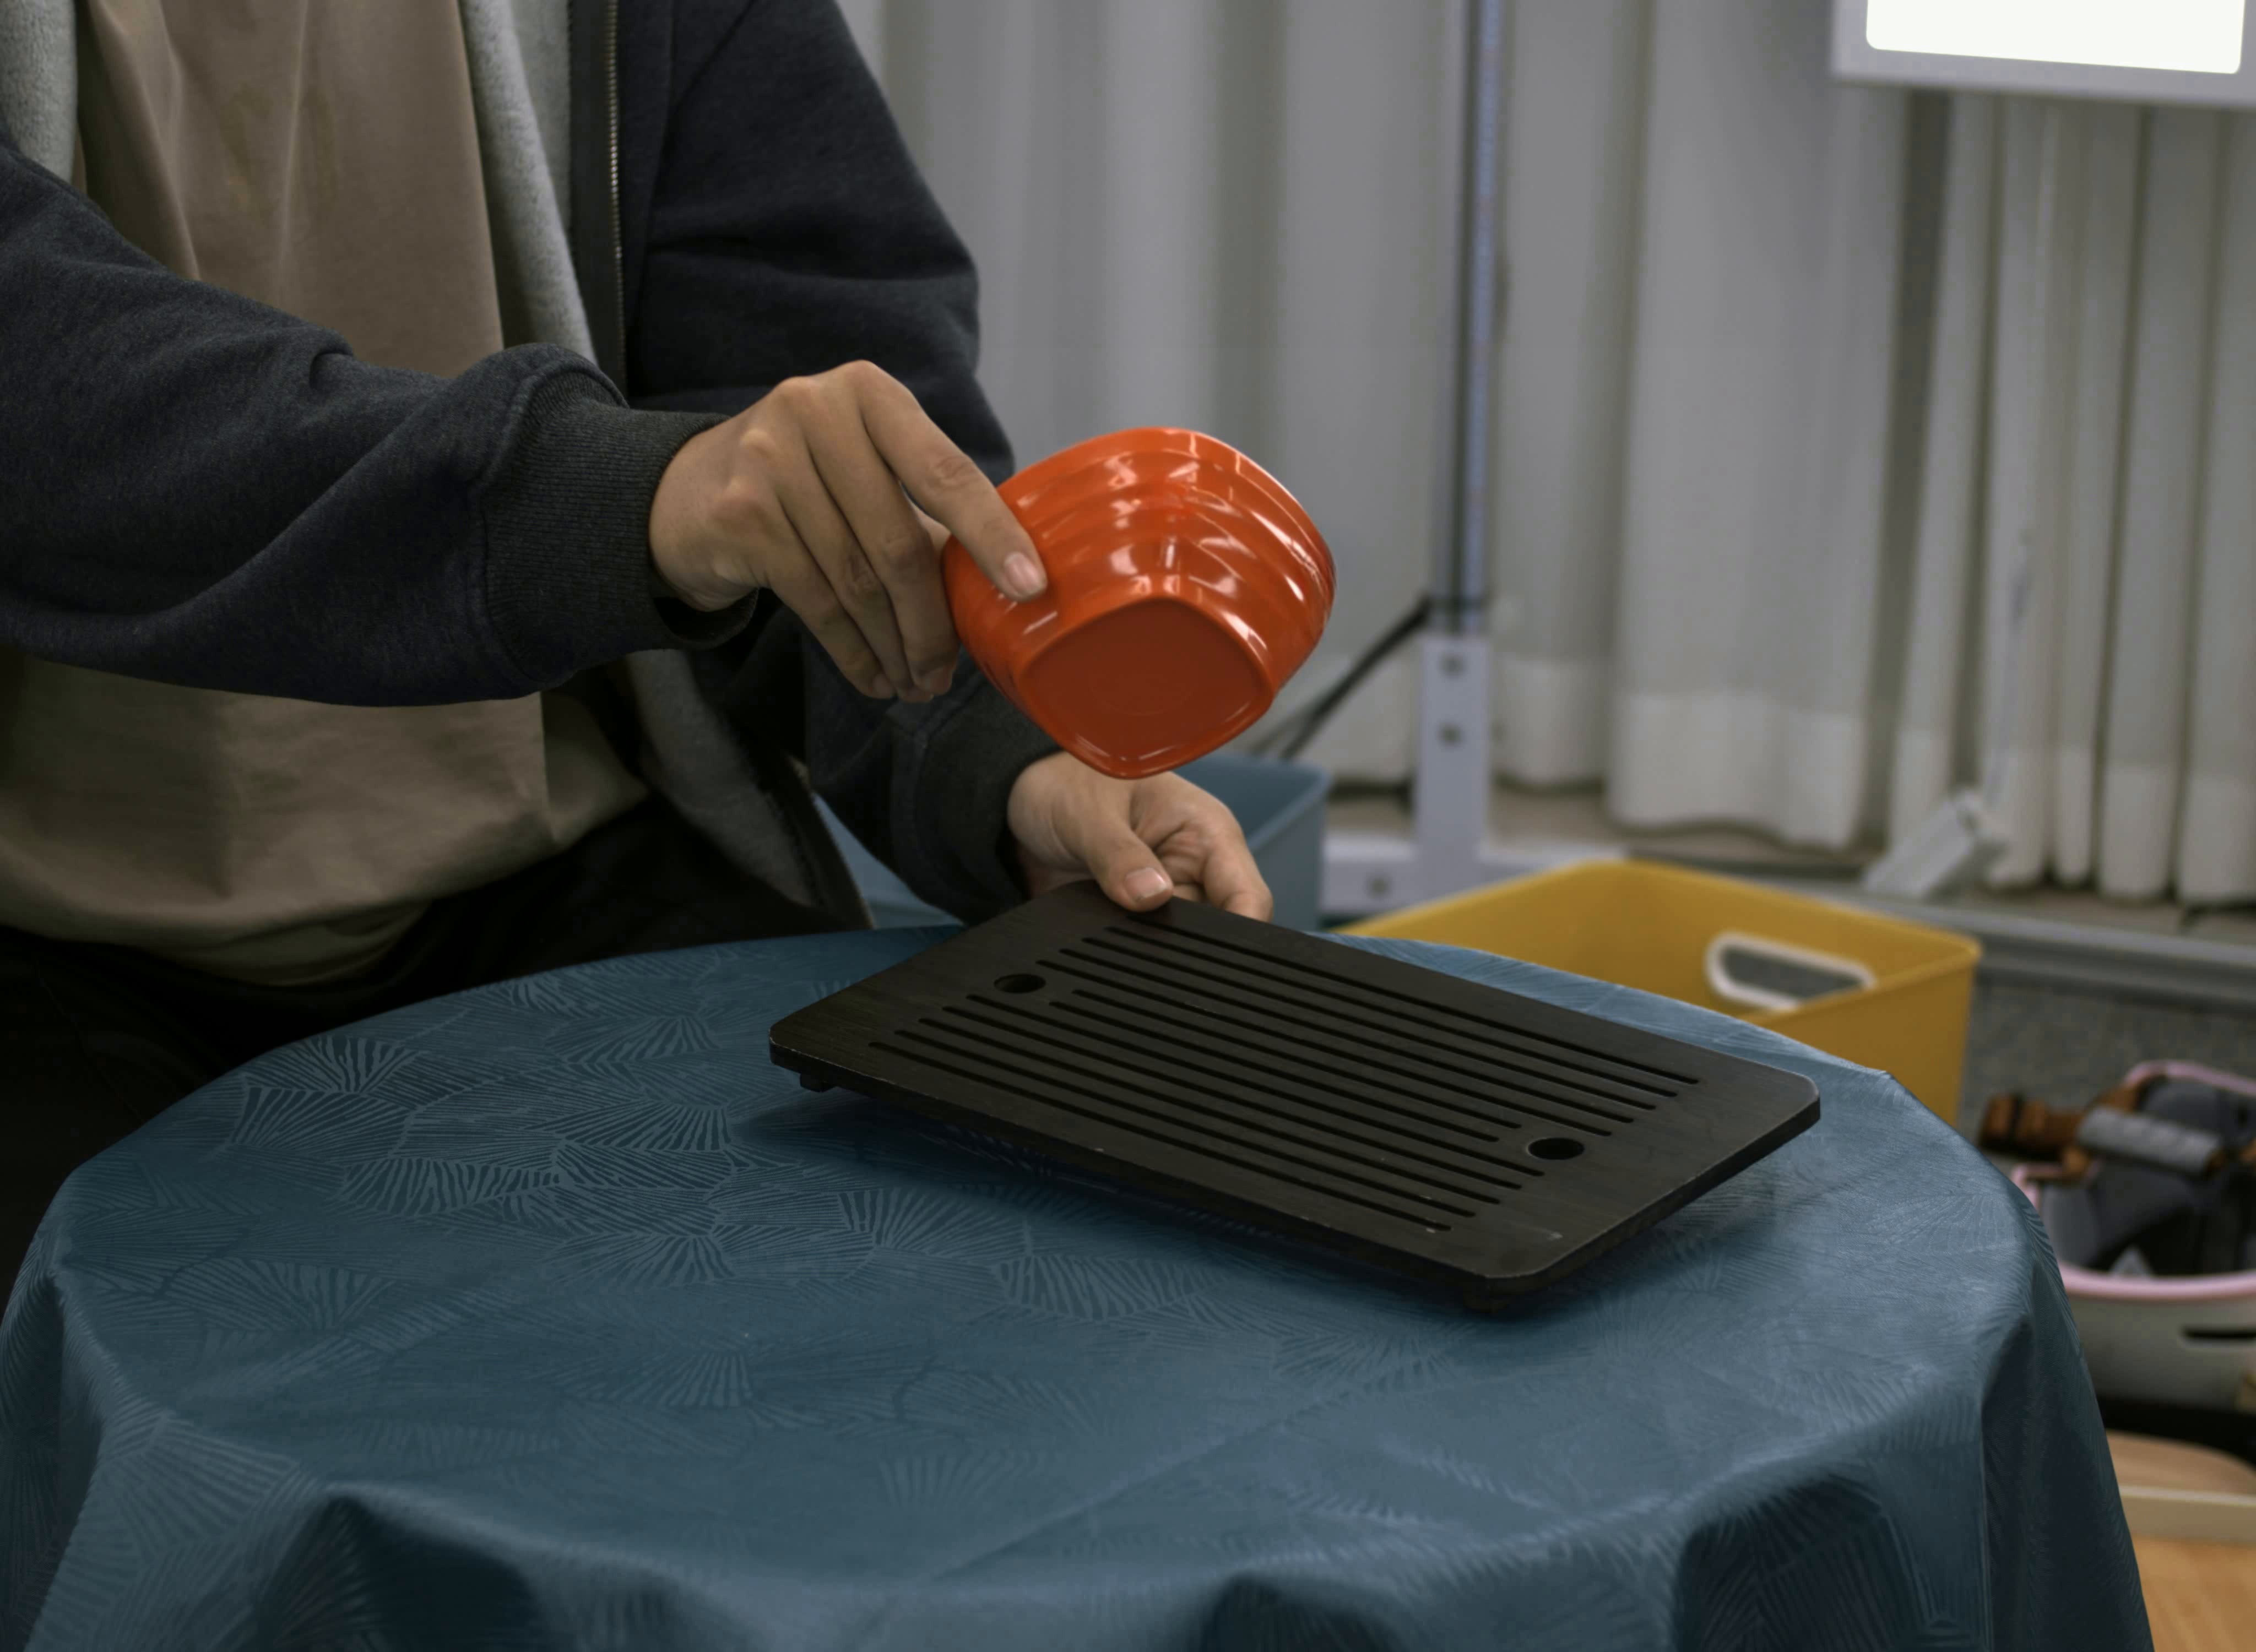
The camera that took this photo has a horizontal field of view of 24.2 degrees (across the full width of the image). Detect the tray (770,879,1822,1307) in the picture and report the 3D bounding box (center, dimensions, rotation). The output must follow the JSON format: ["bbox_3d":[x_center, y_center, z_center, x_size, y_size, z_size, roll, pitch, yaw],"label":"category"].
[{"bbox_3d":[0.050,0.080,1.657,0.302,0.019,0.170,15,27,37],"label":"tray"}]

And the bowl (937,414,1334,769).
[{"bbox_3d":[0.003,-0.060,1.540,0.119,0.120,0.051,0,48,-4],"label":"bowl"}]
